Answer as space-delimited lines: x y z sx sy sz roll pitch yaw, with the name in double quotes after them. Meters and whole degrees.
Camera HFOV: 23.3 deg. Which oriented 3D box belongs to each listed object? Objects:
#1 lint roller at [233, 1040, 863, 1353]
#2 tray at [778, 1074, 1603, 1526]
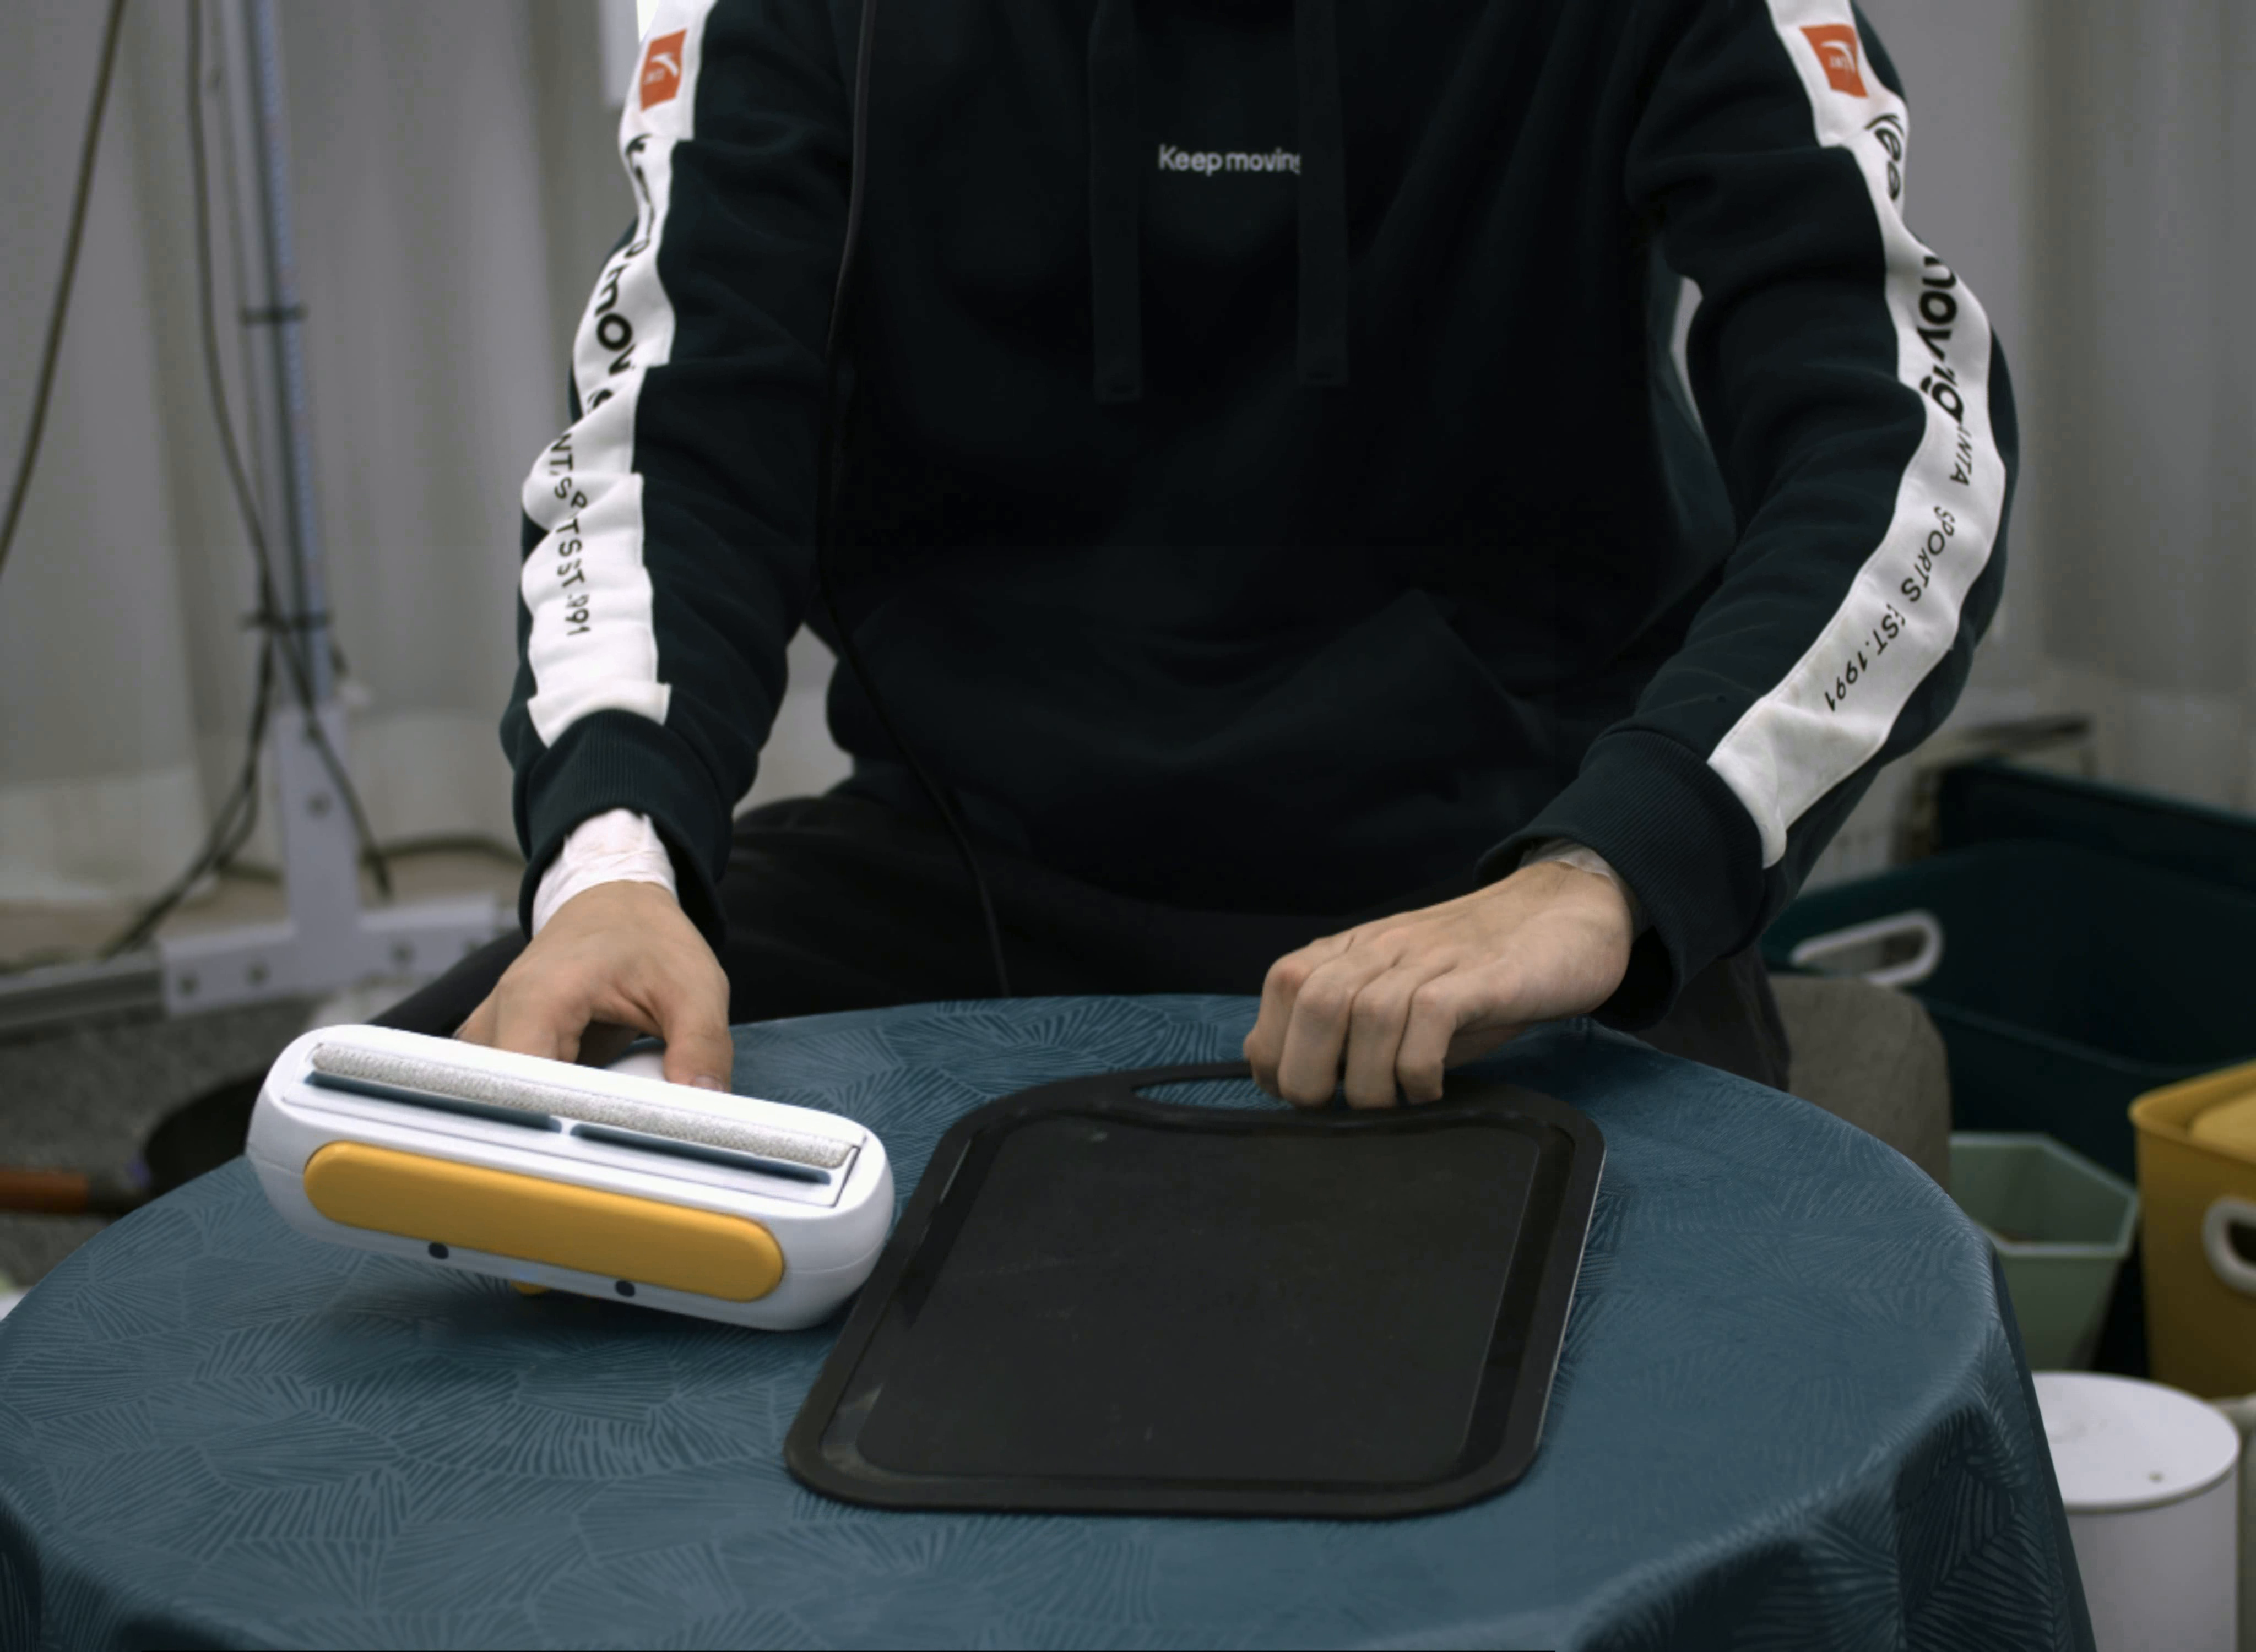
-0.160 0.112 1.687 0.193 0.074 0.192 10 6 13 "lint roller"
0.026 0.131 1.603 0.211 0.010 0.327 0 19 11 "tray"
